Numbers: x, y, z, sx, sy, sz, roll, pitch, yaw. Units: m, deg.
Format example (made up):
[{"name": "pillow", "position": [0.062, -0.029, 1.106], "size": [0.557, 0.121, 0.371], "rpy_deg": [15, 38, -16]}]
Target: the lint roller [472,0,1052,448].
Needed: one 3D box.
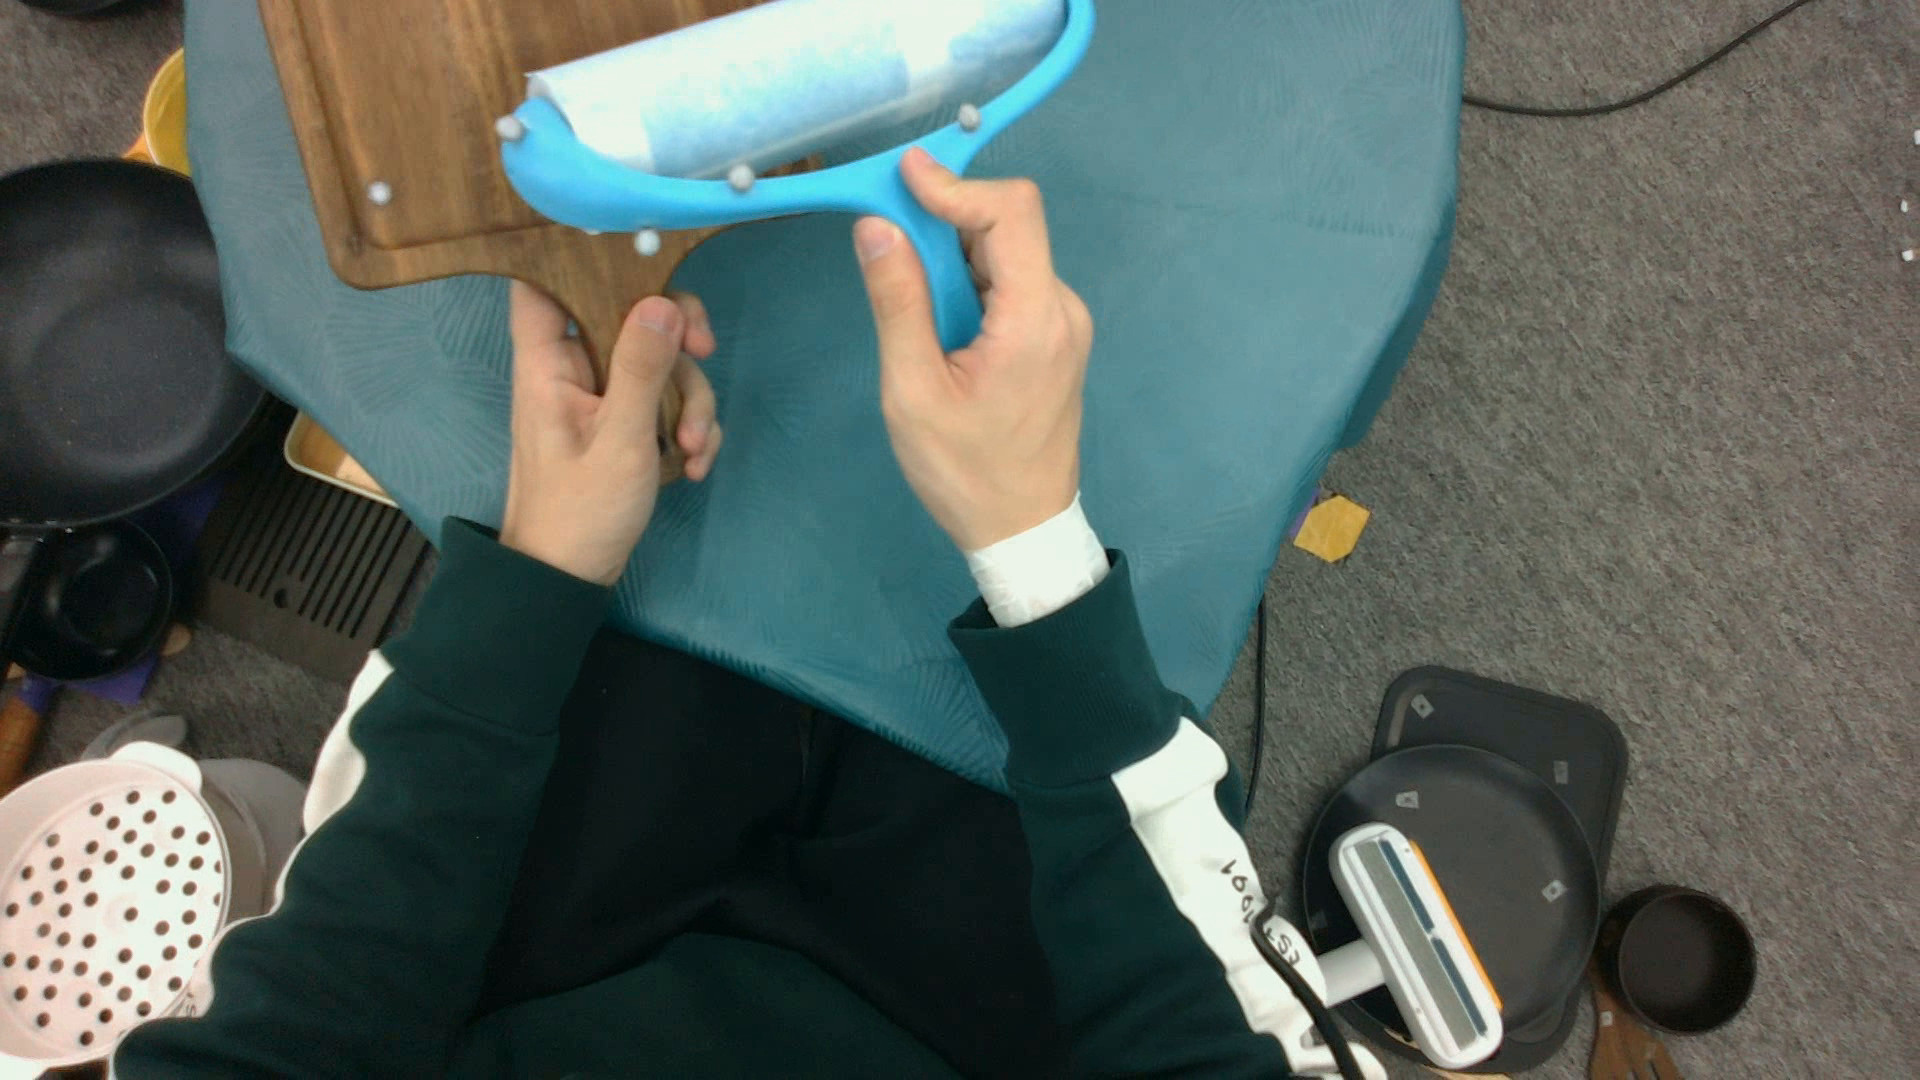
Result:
[{"name": "lint roller", "position": [-0.035, -0.121, 0.499], "size": [0.230, 0.067, 0.180], "rpy_deg": [-33, 92, -26]}]

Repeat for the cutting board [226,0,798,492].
[{"name": "cutting board", "position": [-0.159, -0.183, 0.519], "size": [0.202, 0.023, 0.351], "rpy_deg": [-20, 113, -27]}]
